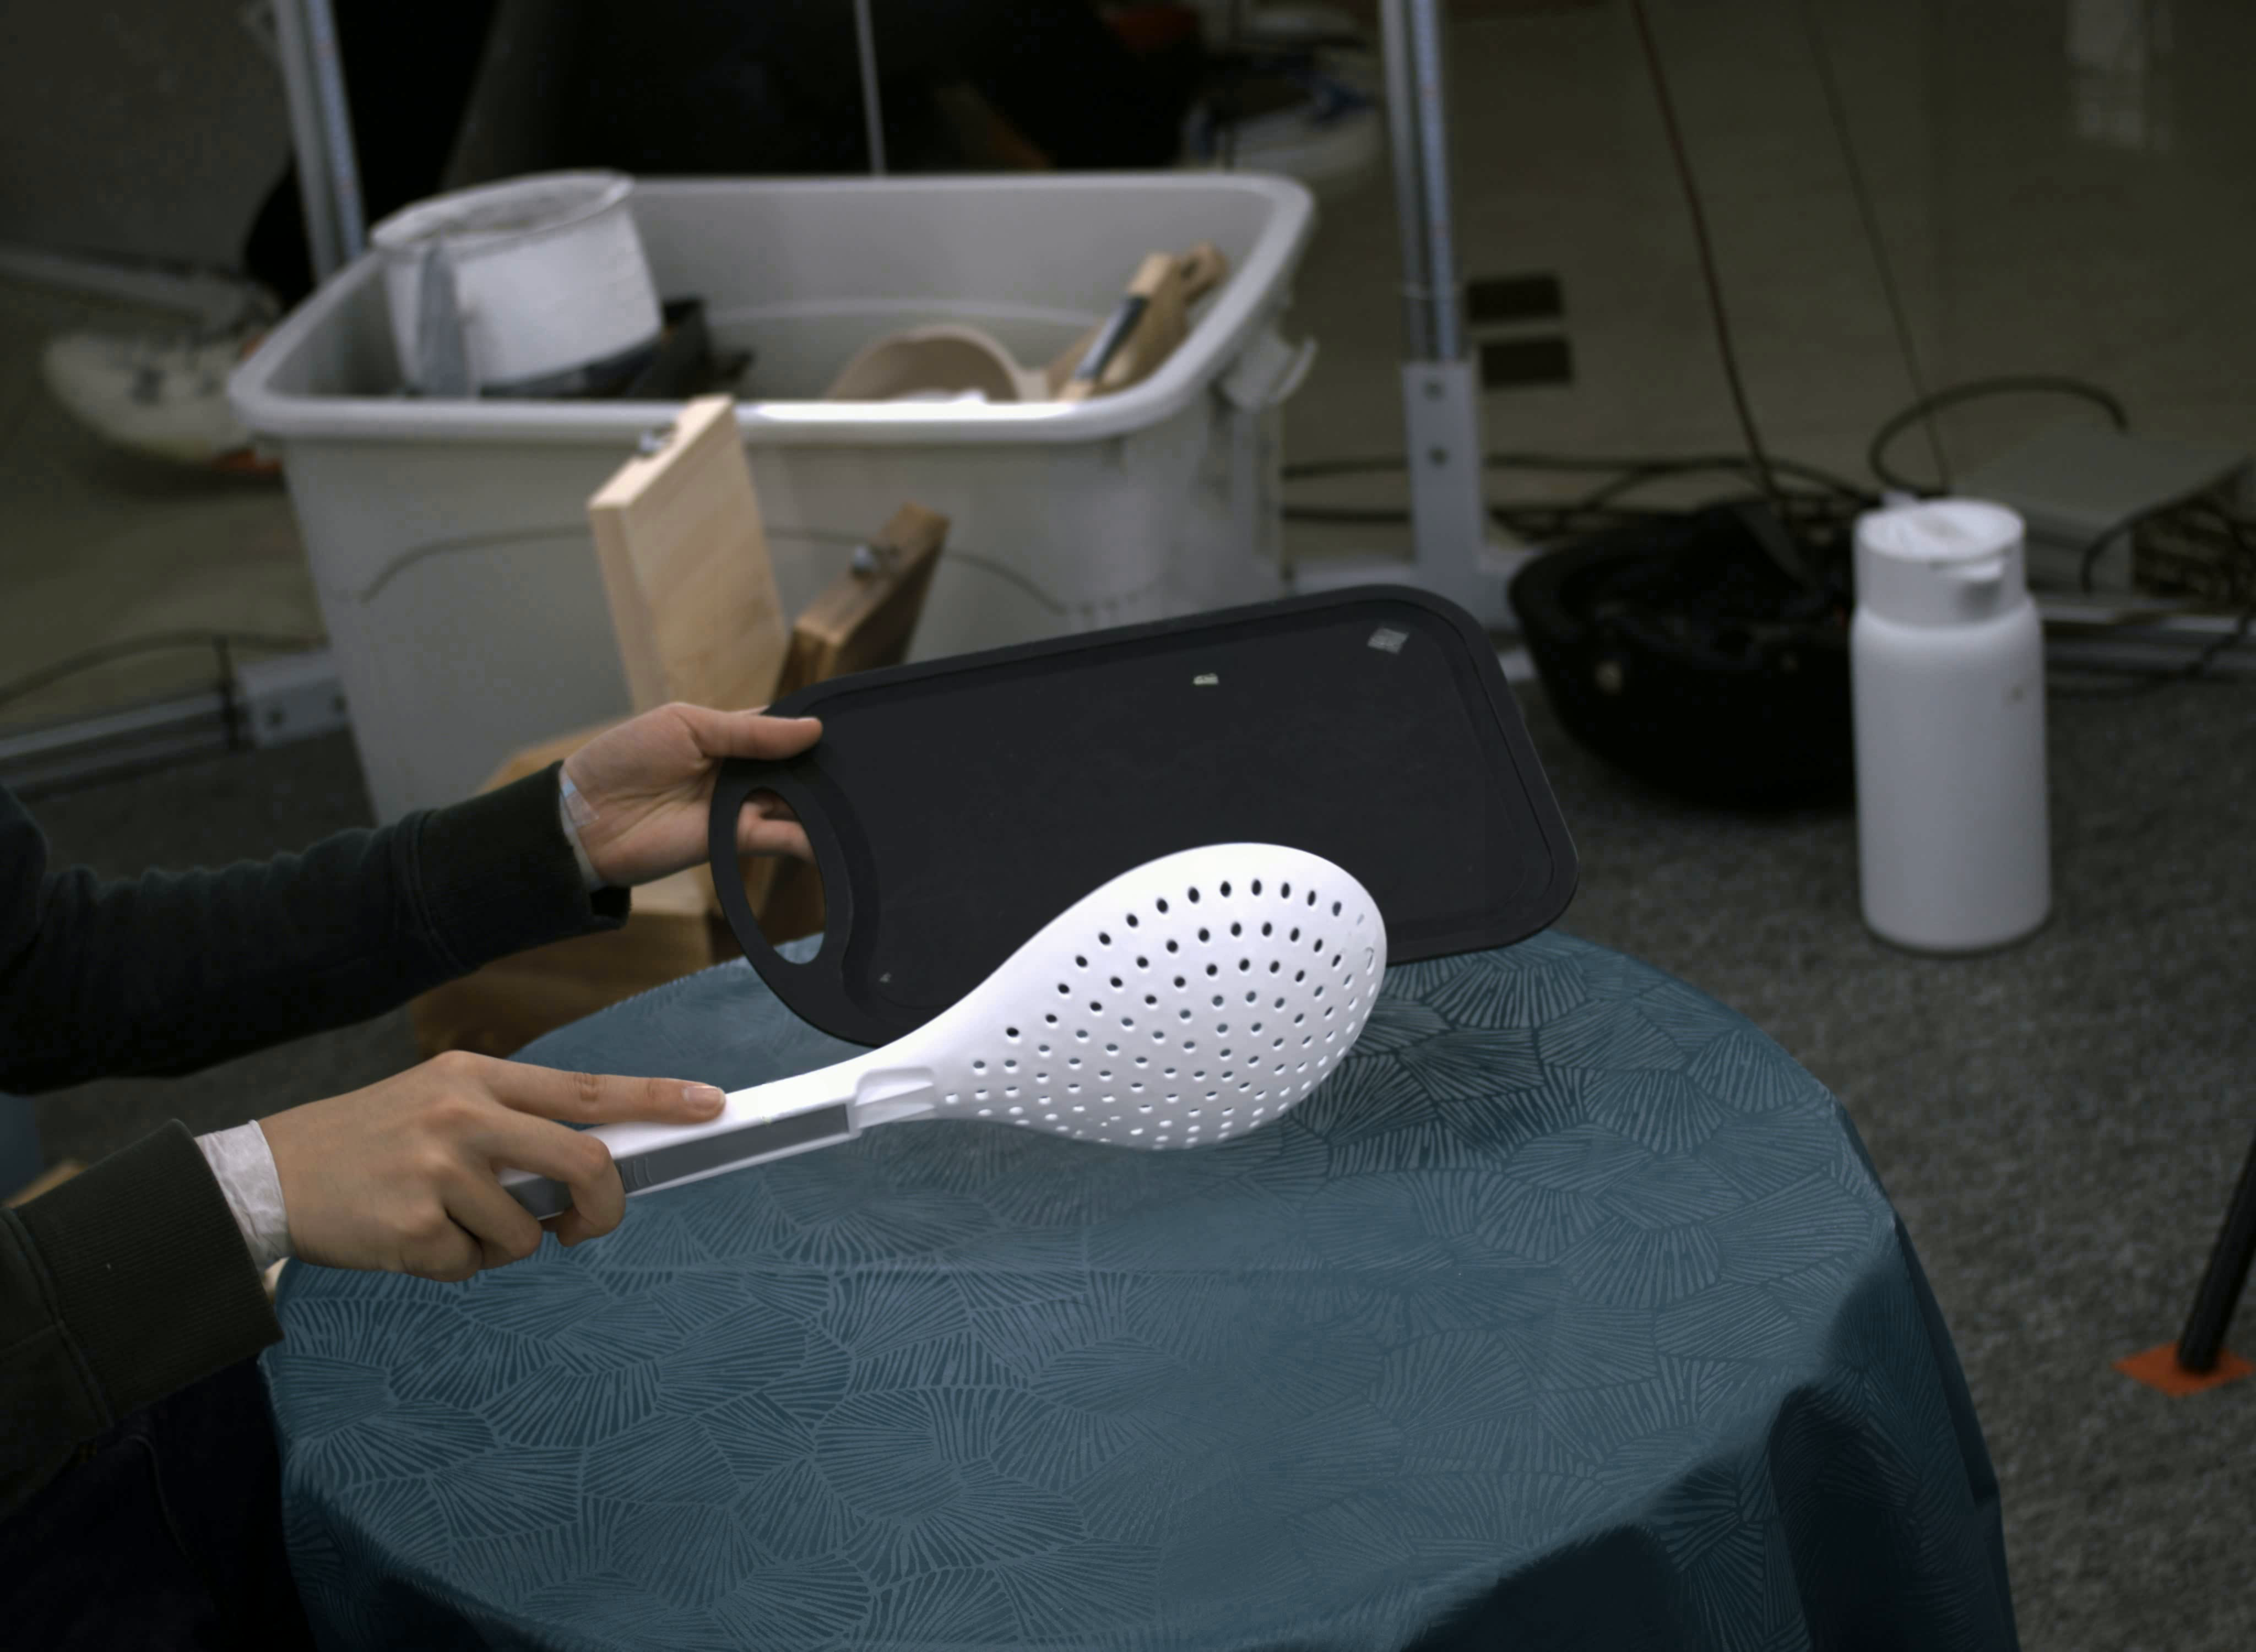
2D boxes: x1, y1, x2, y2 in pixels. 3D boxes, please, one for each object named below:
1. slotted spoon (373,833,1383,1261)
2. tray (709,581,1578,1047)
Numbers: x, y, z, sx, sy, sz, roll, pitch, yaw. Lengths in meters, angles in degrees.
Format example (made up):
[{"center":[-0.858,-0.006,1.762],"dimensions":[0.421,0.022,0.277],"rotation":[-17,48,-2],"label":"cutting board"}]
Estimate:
[{"center":[-0.080,0.088,1.888],"dimensions":[0.349,0.139,0.045],"rotation":[-11,41,-6],"label":"slotted spoon"},{"center":[0.001,-0.007,2.187],"dimensions":[0.324,0.010,0.207],"rotation":[-10,46,-8],"label":"tray"}]
